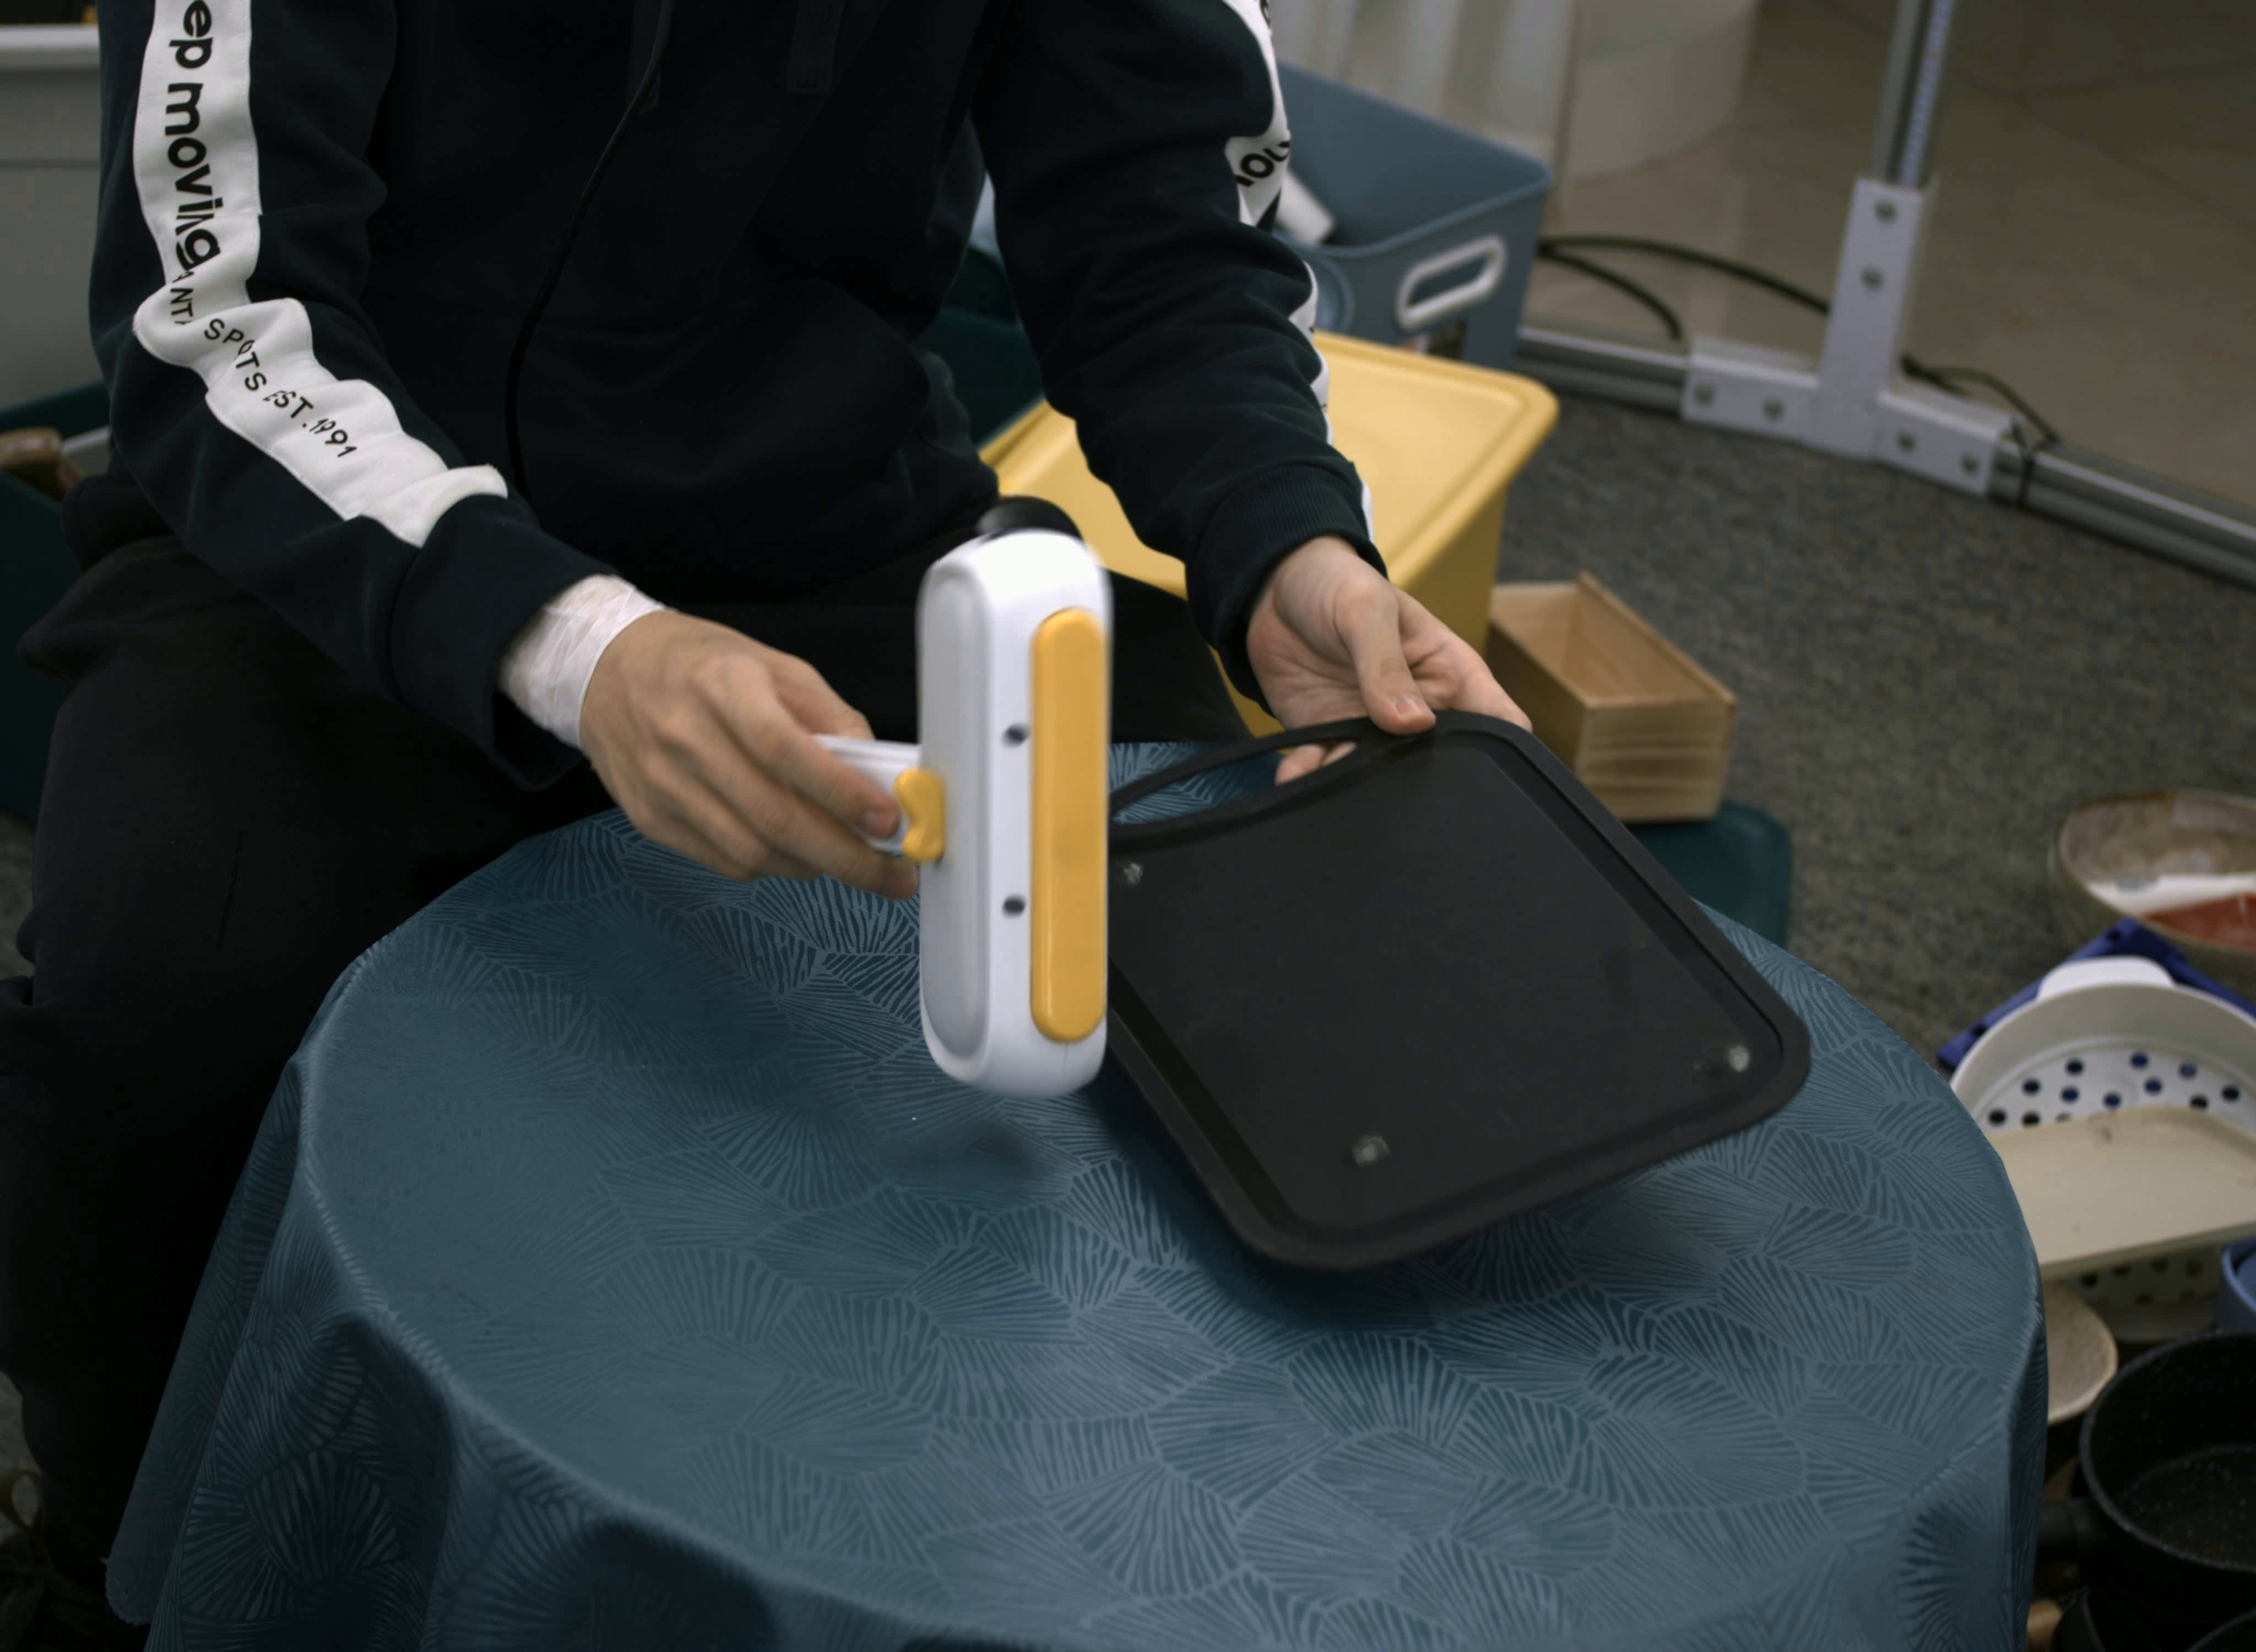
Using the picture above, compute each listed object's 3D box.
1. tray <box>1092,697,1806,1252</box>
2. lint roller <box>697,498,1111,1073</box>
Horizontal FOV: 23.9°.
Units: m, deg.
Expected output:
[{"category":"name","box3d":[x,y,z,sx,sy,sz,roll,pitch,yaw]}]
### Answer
[{"category":"tray","box3d":[0.086,0.041,1.866,0.210,0.010,0.328,-19,33,-12]},{"category":"lint roller","box3d":[-0.076,-0.014,1.834,0.073,0.193,0.193,-6,5,-35]}]
